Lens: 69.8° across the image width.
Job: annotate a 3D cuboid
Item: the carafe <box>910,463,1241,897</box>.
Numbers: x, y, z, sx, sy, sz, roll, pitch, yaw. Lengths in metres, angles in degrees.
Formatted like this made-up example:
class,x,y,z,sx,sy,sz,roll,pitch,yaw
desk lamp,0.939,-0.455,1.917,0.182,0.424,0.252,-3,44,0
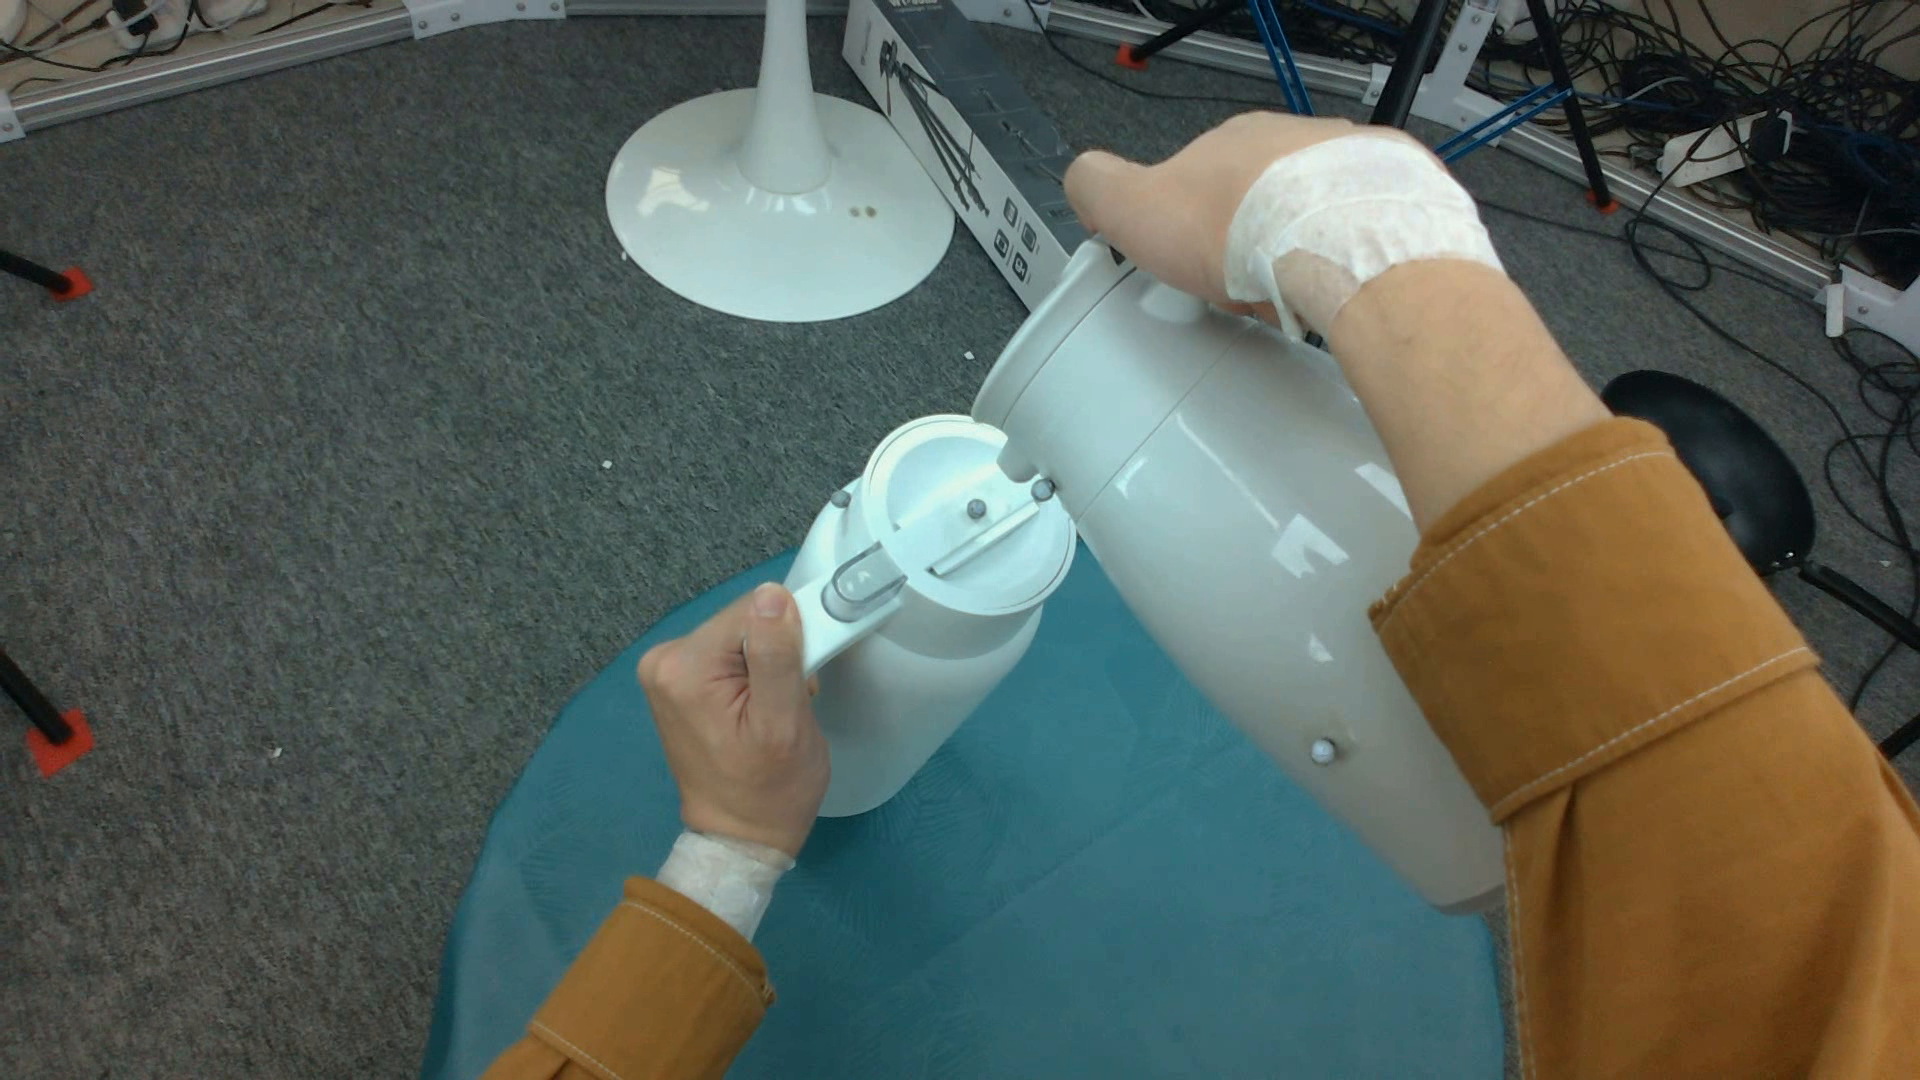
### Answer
class,x,y,z,sx,sy,sz,roll,pitch,yaw
carafe,0.044,0.090,0.681,0.124,0.267,0.173,40,59,15

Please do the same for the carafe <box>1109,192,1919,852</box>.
class,x,y,z,sx,sy,sz,roll,pitch,yaw
carafe,0.182,-0.025,0.472,0.248,0.167,0.133,30,44,12
